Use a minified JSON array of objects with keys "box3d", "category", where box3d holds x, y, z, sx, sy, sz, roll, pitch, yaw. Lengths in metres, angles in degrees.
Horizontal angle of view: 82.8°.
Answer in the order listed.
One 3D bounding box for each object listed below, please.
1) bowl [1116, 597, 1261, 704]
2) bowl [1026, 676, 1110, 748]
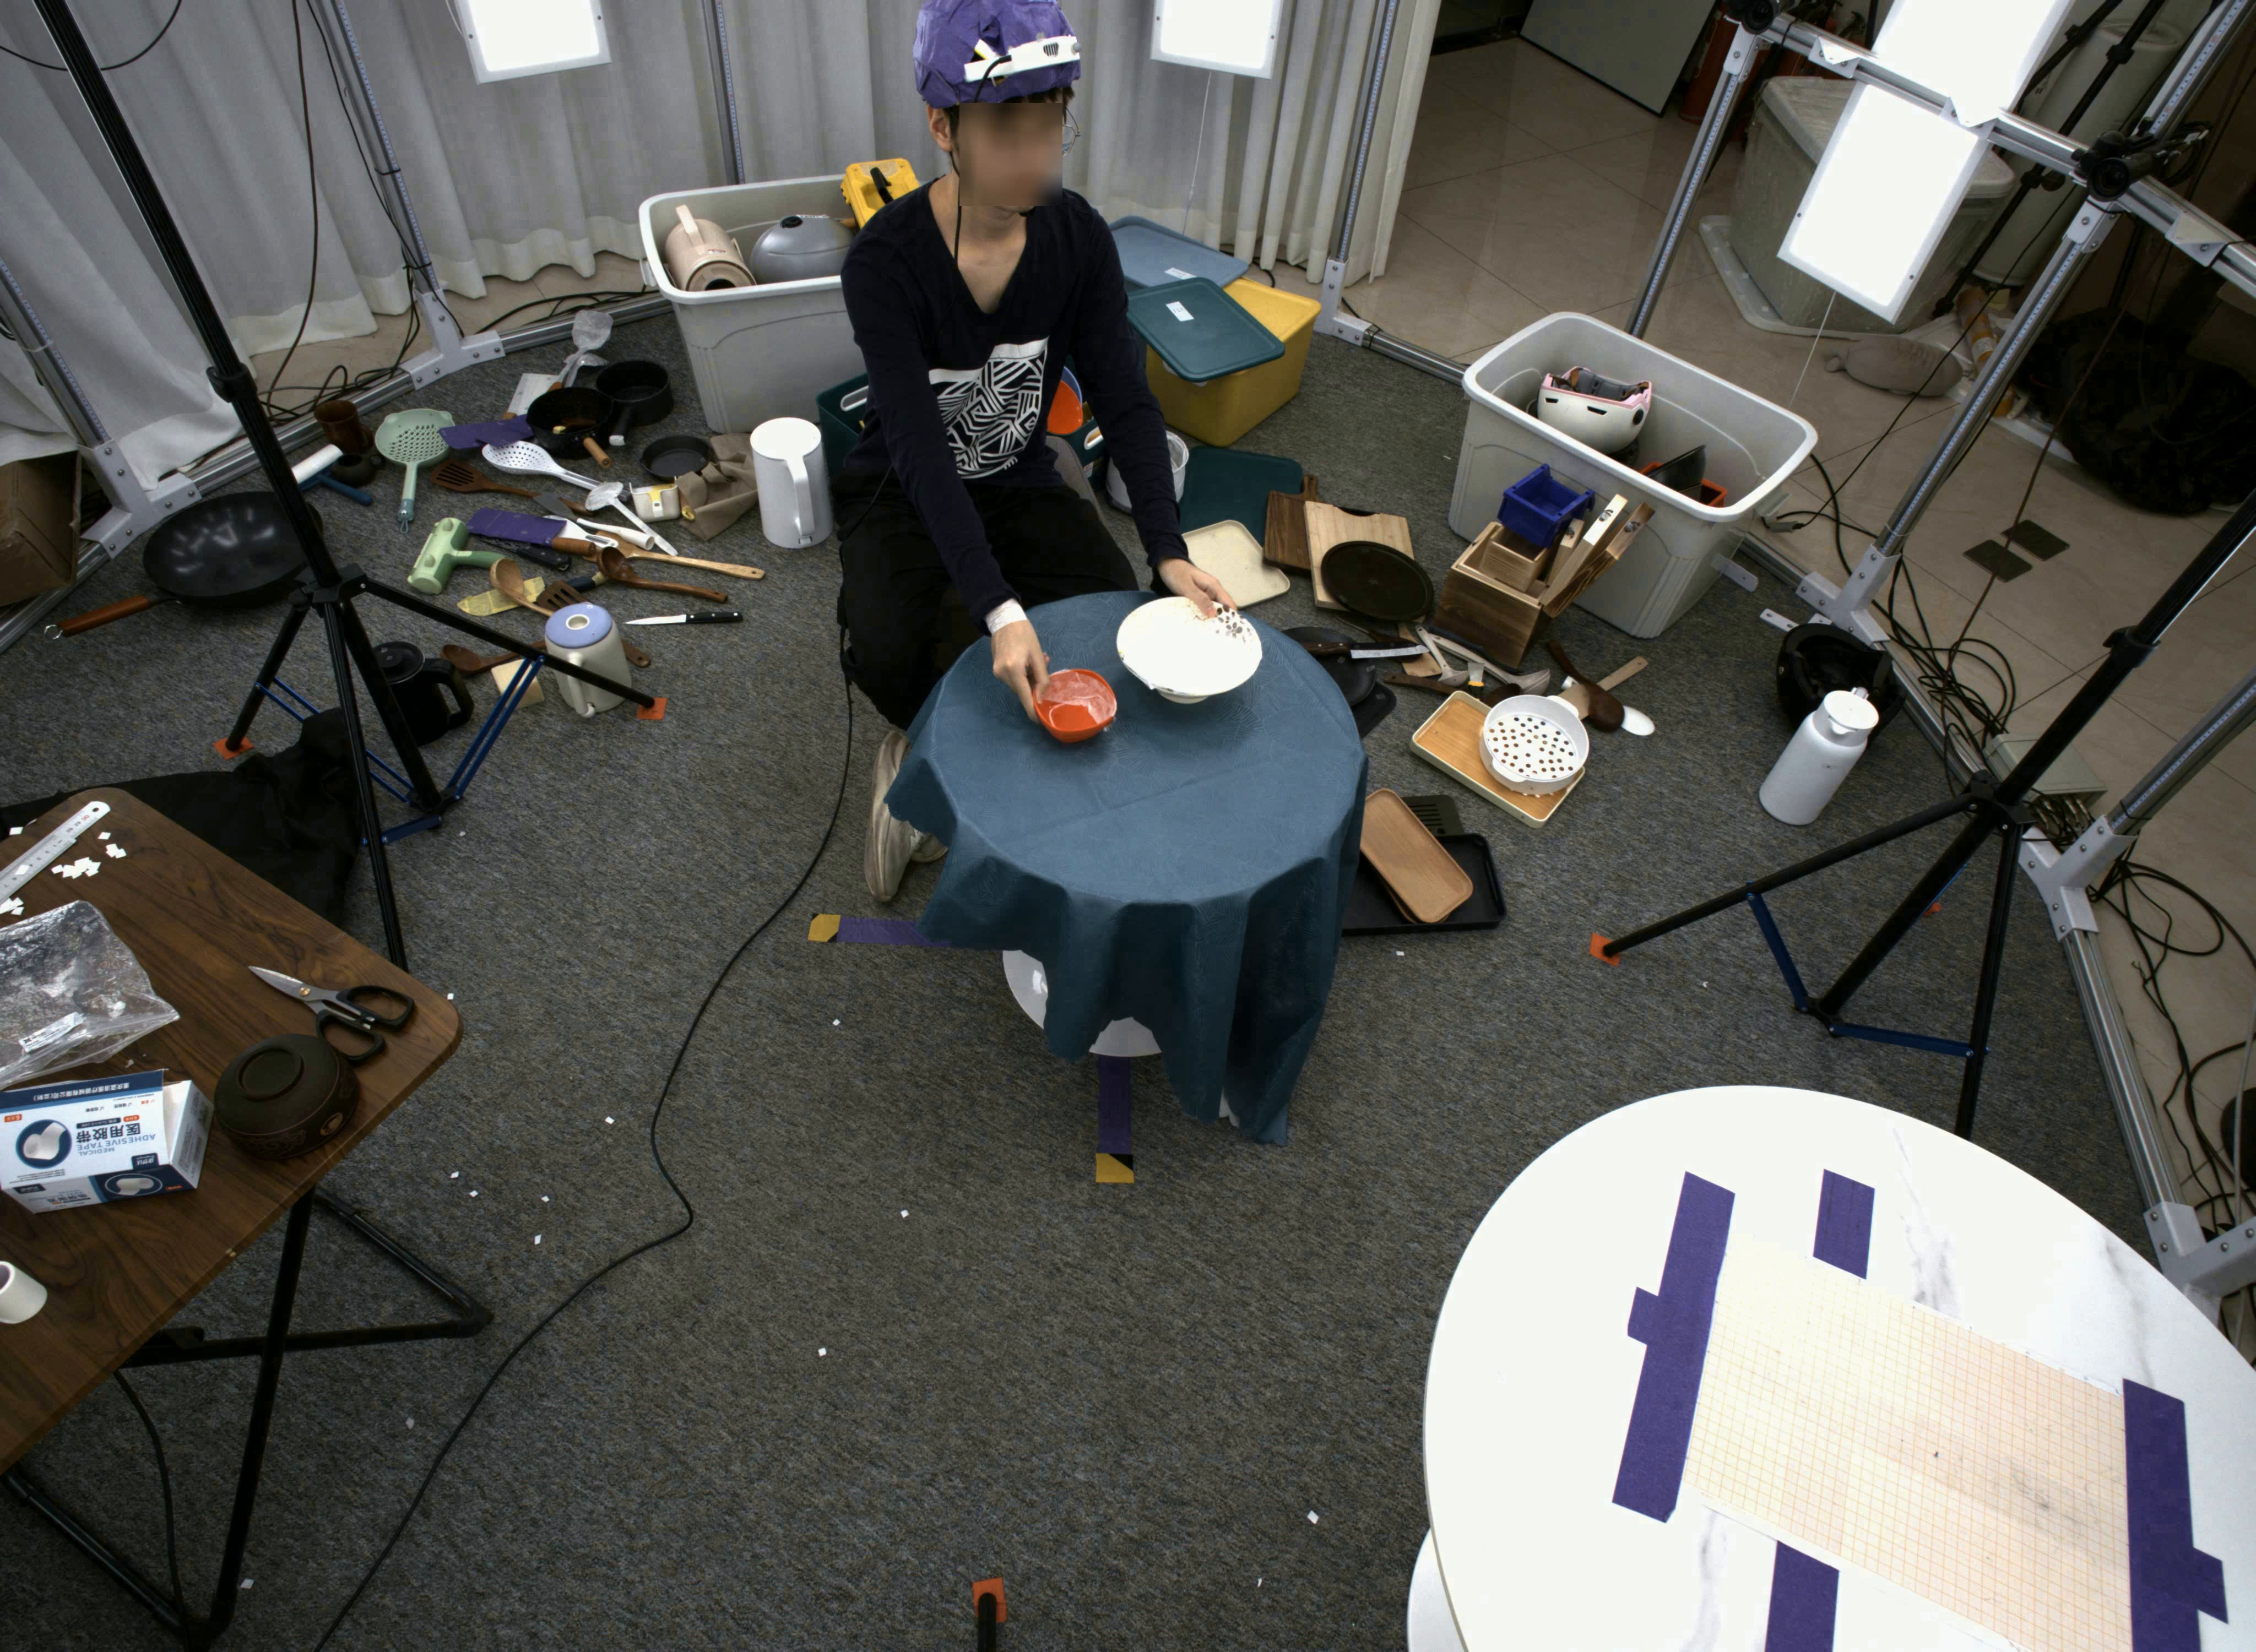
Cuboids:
[{"box3d":[0.083,-0.231,1.824,0.204,0.076,0.209,2,48,-3],"category":"bowl"},{"box3d":[-0.085,-0.150,1.769,0.118,0.050,0.122,5,49,-6],"category":"bowl"}]
